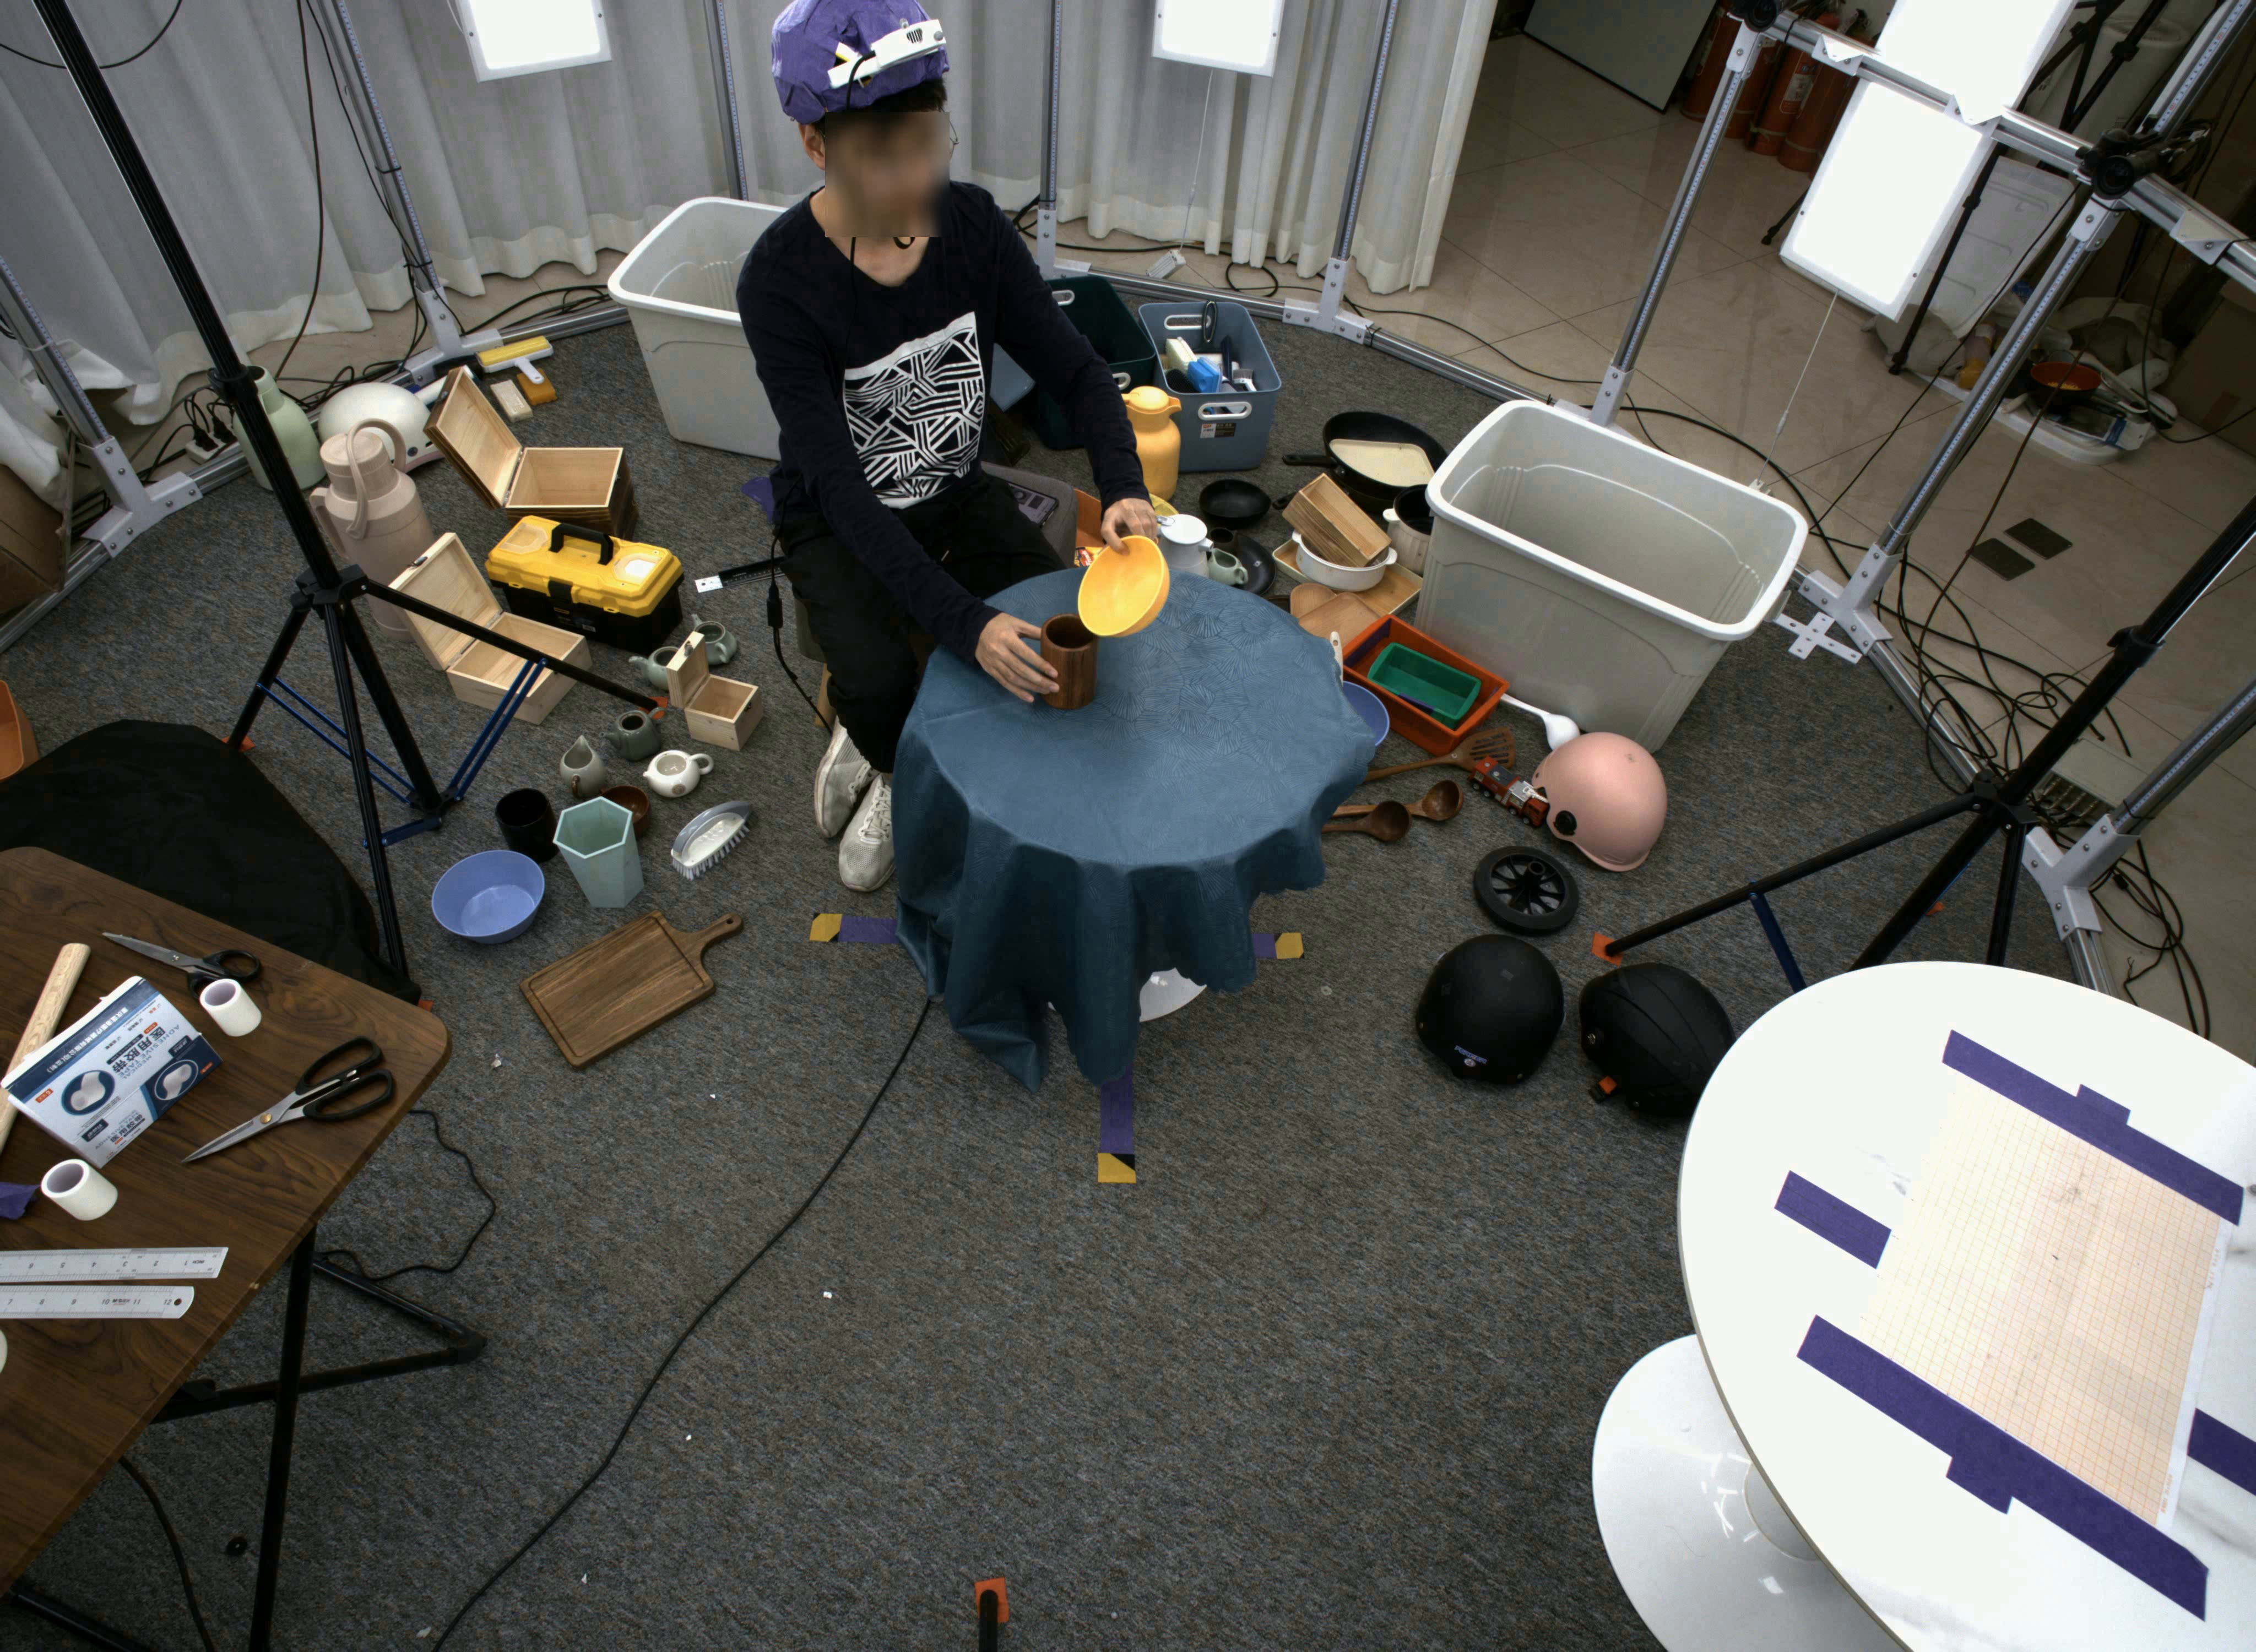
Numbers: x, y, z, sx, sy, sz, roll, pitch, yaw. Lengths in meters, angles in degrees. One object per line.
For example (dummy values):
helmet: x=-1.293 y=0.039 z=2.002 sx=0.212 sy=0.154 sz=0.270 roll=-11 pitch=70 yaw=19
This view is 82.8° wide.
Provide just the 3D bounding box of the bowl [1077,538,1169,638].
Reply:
bowl: x=0.005 y=-0.313 z=1.745 sx=0.145 sy=0.059 sz=0.148 roll=-18 pitch=59 yaw=33

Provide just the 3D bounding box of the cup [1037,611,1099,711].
cup: x=-0.085 y=-0.229 z=1.785 sx=0.087 sy=0.115 sz=0.090 roll=4 pitch=47 yaw=-4
